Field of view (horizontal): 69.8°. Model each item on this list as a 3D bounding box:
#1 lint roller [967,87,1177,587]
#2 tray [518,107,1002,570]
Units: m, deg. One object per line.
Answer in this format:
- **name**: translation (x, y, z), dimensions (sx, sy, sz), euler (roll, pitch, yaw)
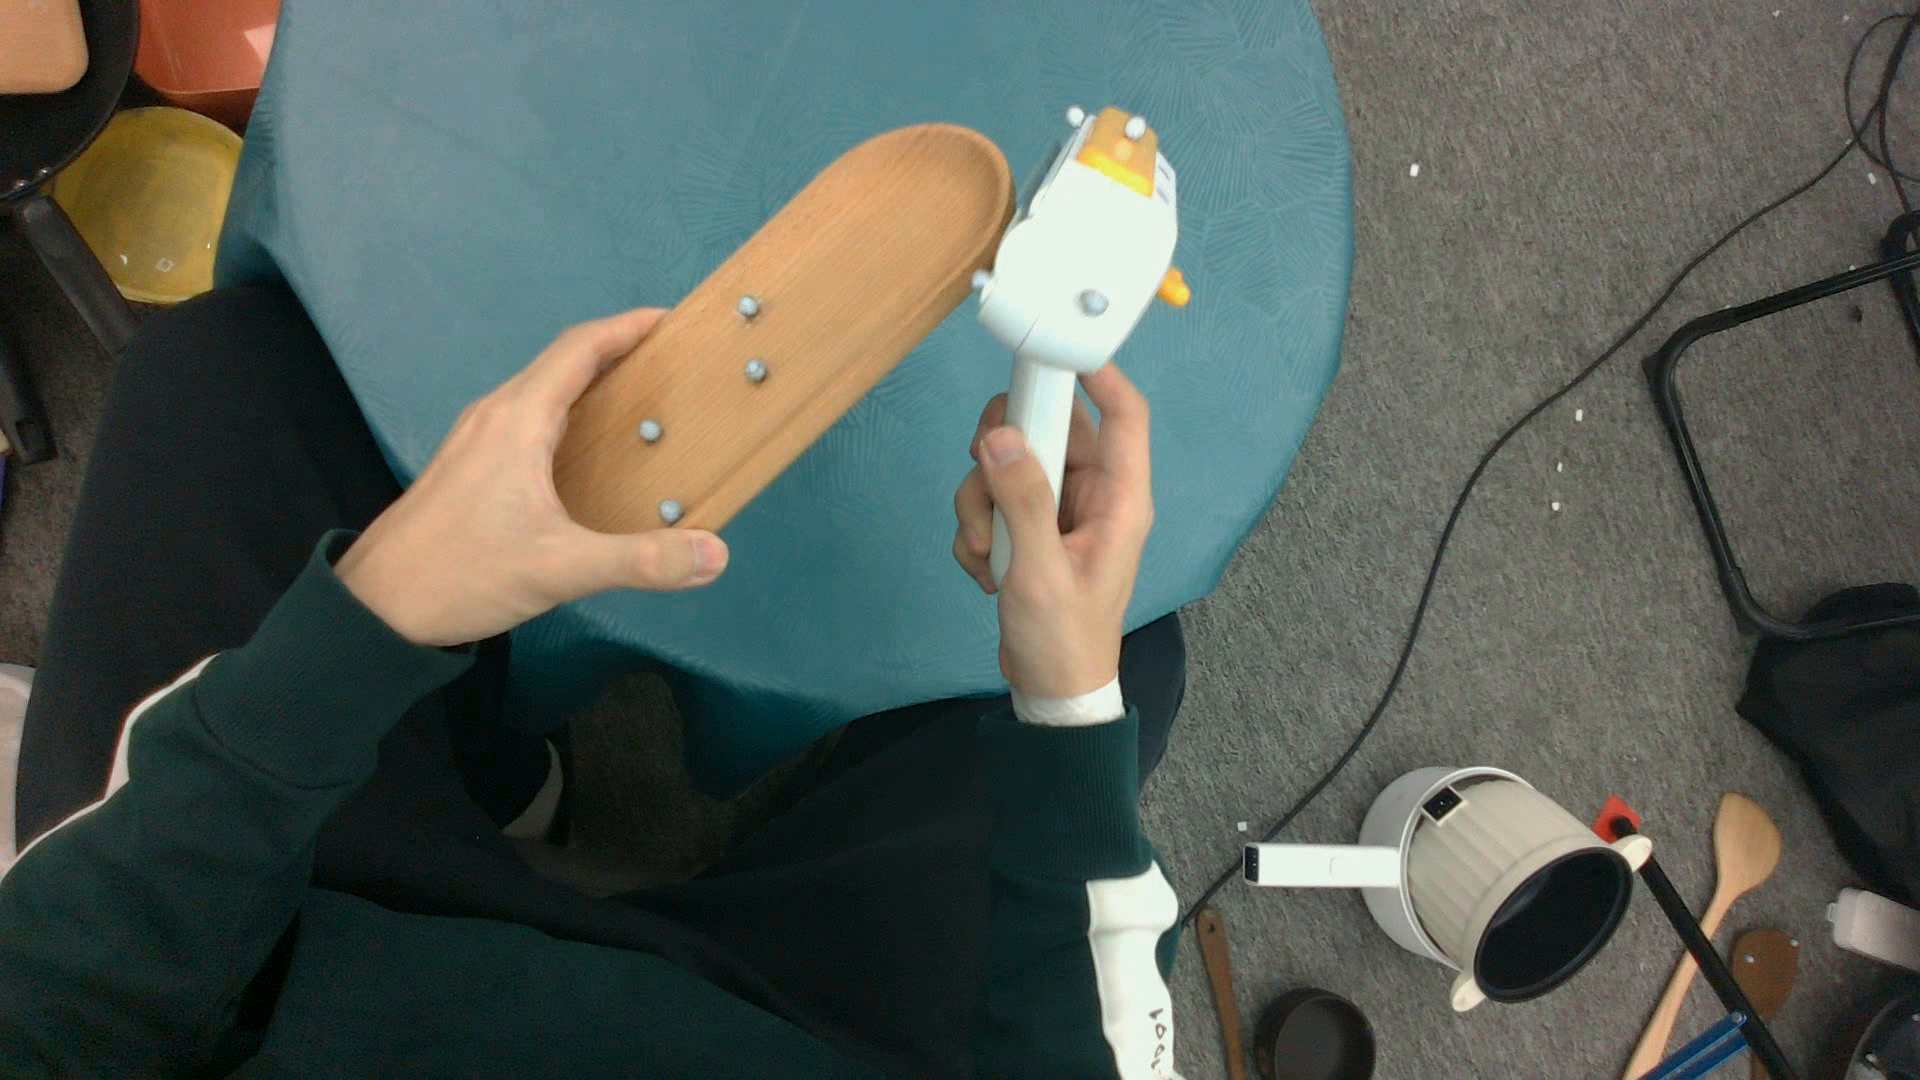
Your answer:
- **lint roller**: translation (0.029, -0.071, 0.540), dimensions (0.074, 0.193, 0.191), euler (19, 117, -7)
- **tray**: translation (-0.076, -0.080, 0.528), dimensions (0.231, 0.102, 0.020), euler (-45, 142, -8)
